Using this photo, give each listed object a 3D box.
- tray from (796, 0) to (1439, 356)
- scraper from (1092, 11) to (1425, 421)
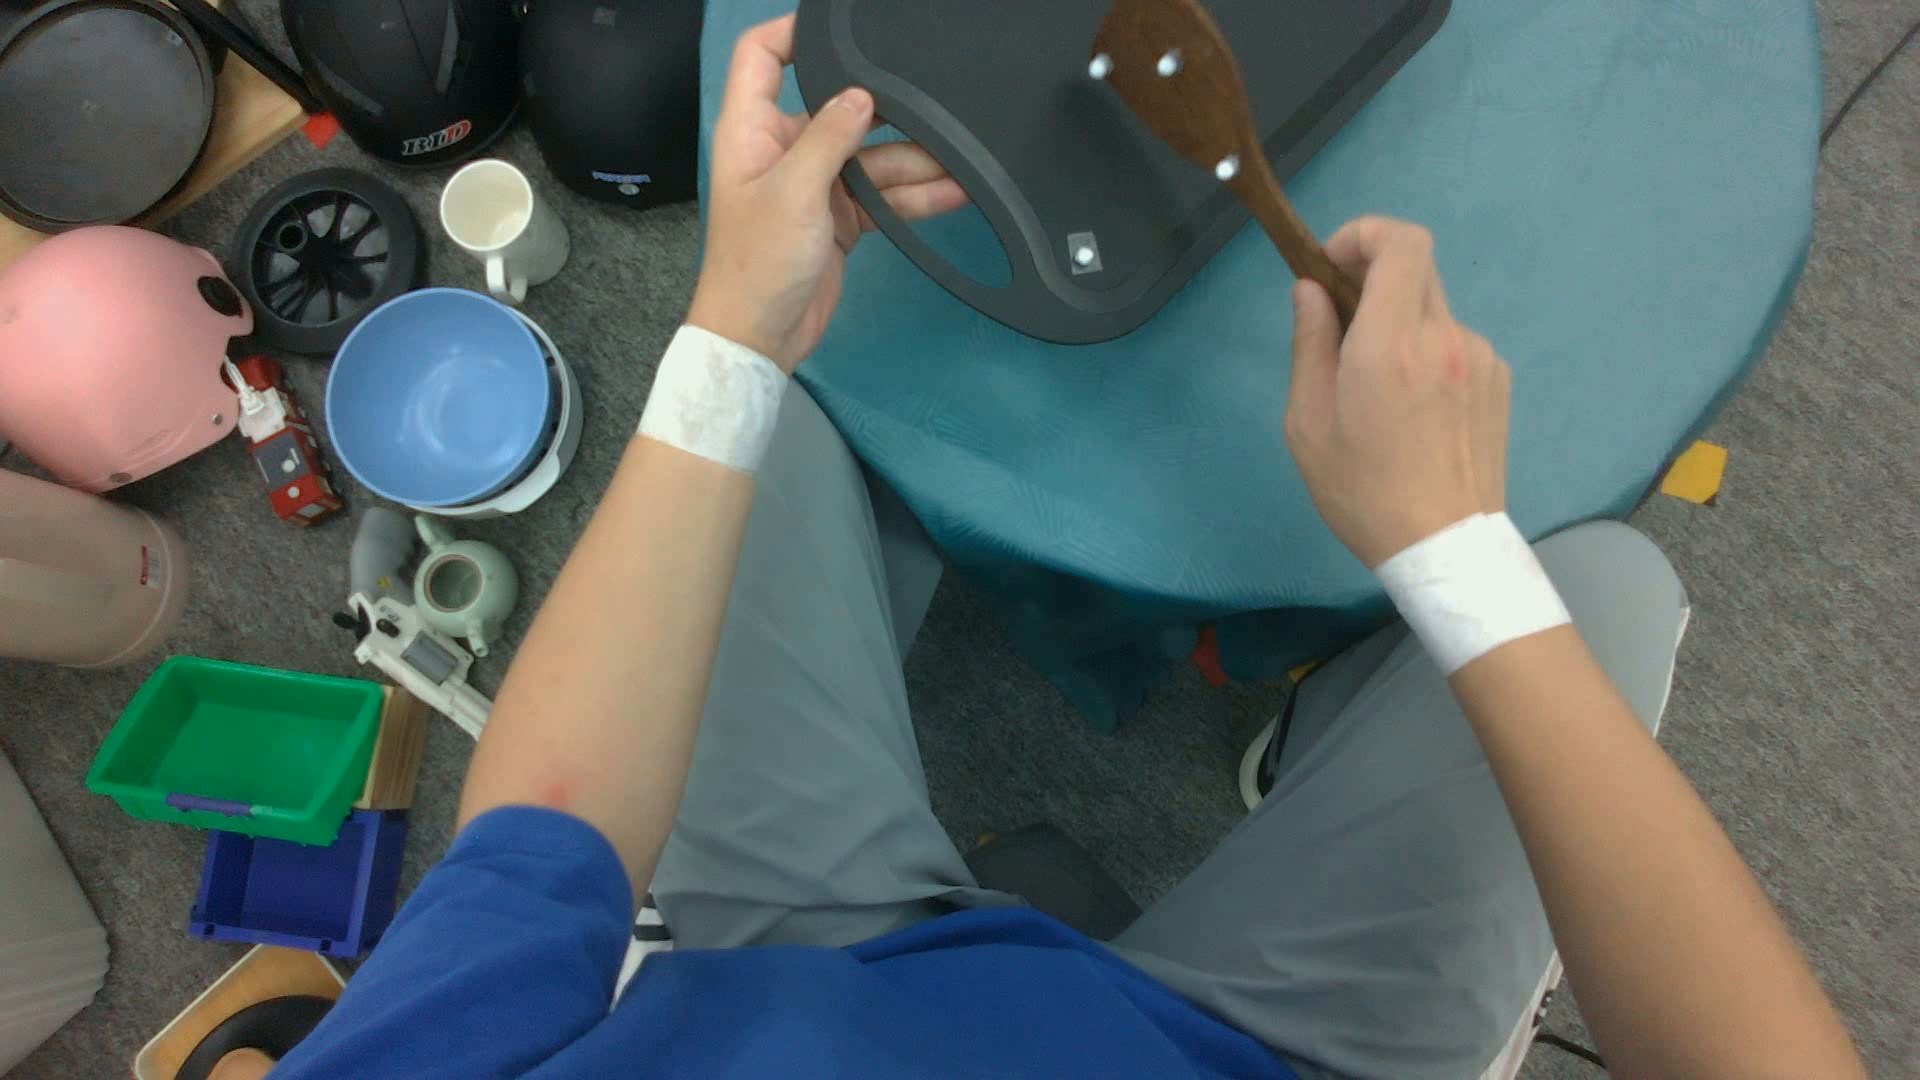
[{"bbox_3d":[0.081,-0.239,0.648,0.211,0.010,0.326,46,75,-6],"label":"tray"},{"bbox_3d":[0.135,-0.137,0.608,0.011,0.075,0.211,-39,92,-19],"label":"scraper"}]
